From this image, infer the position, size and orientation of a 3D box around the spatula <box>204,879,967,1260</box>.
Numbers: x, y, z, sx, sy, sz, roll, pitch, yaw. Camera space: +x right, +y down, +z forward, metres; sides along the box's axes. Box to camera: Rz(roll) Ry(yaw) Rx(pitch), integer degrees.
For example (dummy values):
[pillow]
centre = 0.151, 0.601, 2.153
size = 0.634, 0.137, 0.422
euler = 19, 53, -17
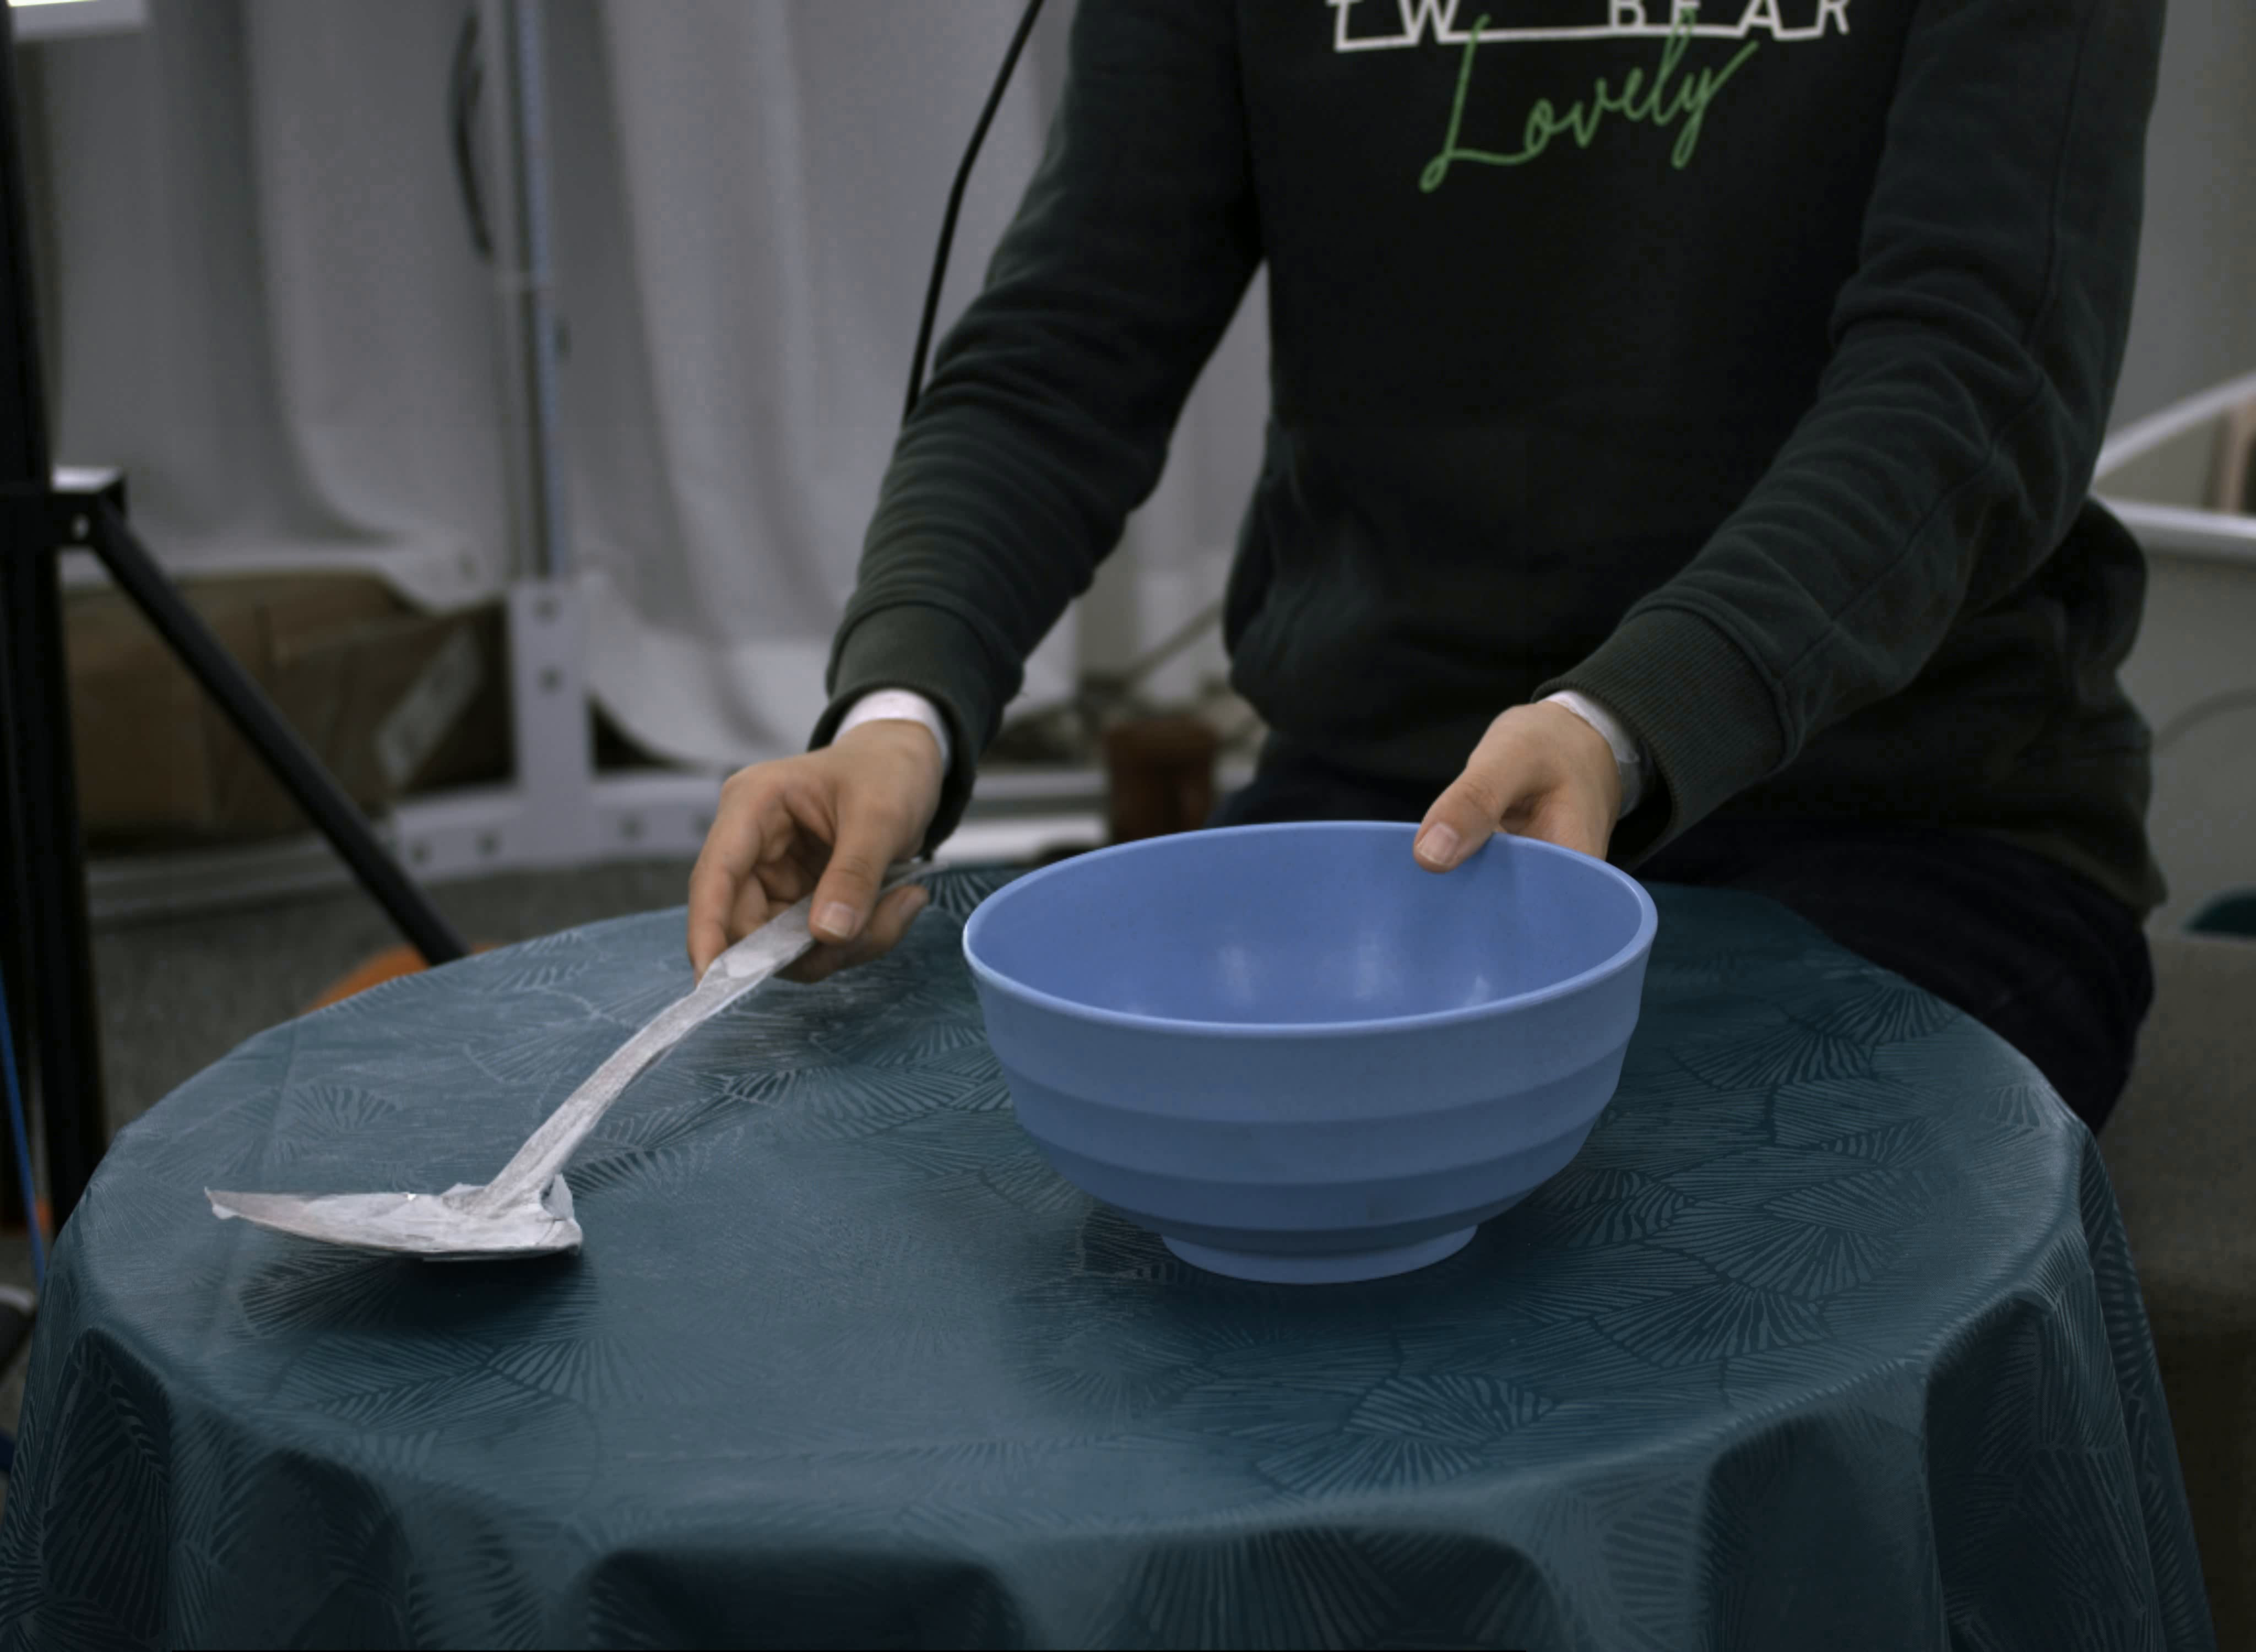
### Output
[spatula]
centre = -0.144, 0.065, 1.623
size = 0.100, 0.044, 0.360
euler = 6, 24, 26

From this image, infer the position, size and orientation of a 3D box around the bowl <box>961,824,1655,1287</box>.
[bowl]
centre = 0.053, 0.071, 1.507
size = 0.195, 0.095, 0.197
euler = -4, 16, 0
